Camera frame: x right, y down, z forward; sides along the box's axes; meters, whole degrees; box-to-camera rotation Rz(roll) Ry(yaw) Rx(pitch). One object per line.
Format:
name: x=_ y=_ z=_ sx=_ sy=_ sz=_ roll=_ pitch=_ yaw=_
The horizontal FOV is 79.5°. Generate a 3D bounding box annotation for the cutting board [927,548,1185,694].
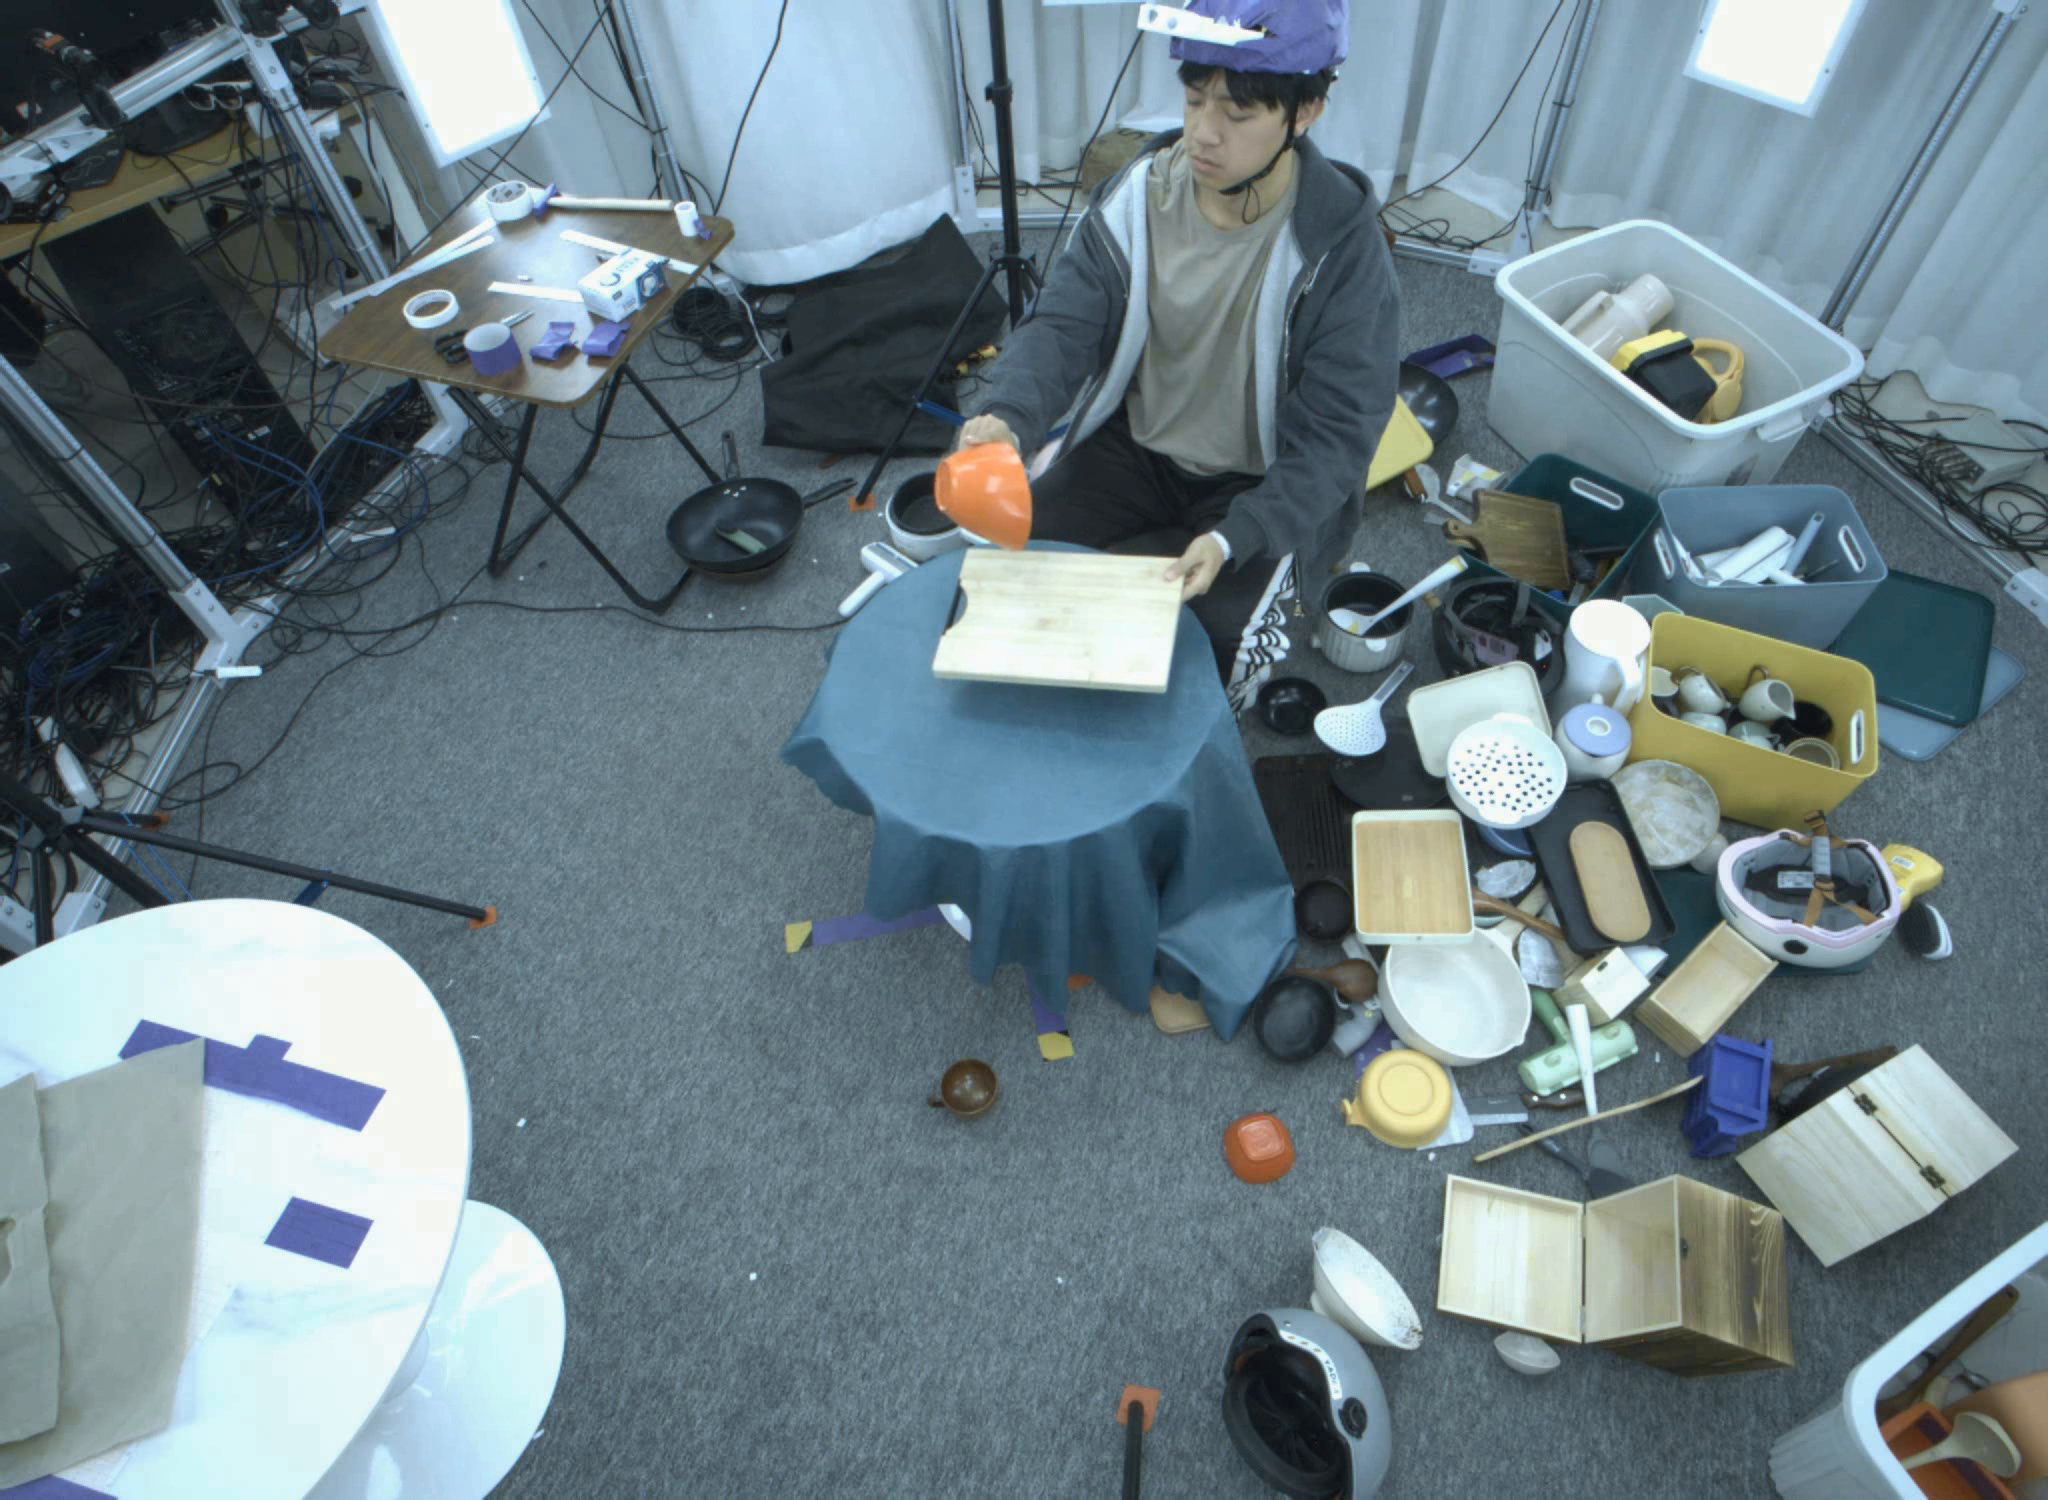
cutting board: x=0.049 y=-0.196 z=1.810 sx=0.346 sy=0.024 sz=0.249 roll=5 pitch=57 yaw=11

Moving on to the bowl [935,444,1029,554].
bowl: x=-0.062 y=-0.337 z=1.624 sx=0.106 sy=0.148 sz=0.145 roll=-2 pitch=53 yaw=-22
